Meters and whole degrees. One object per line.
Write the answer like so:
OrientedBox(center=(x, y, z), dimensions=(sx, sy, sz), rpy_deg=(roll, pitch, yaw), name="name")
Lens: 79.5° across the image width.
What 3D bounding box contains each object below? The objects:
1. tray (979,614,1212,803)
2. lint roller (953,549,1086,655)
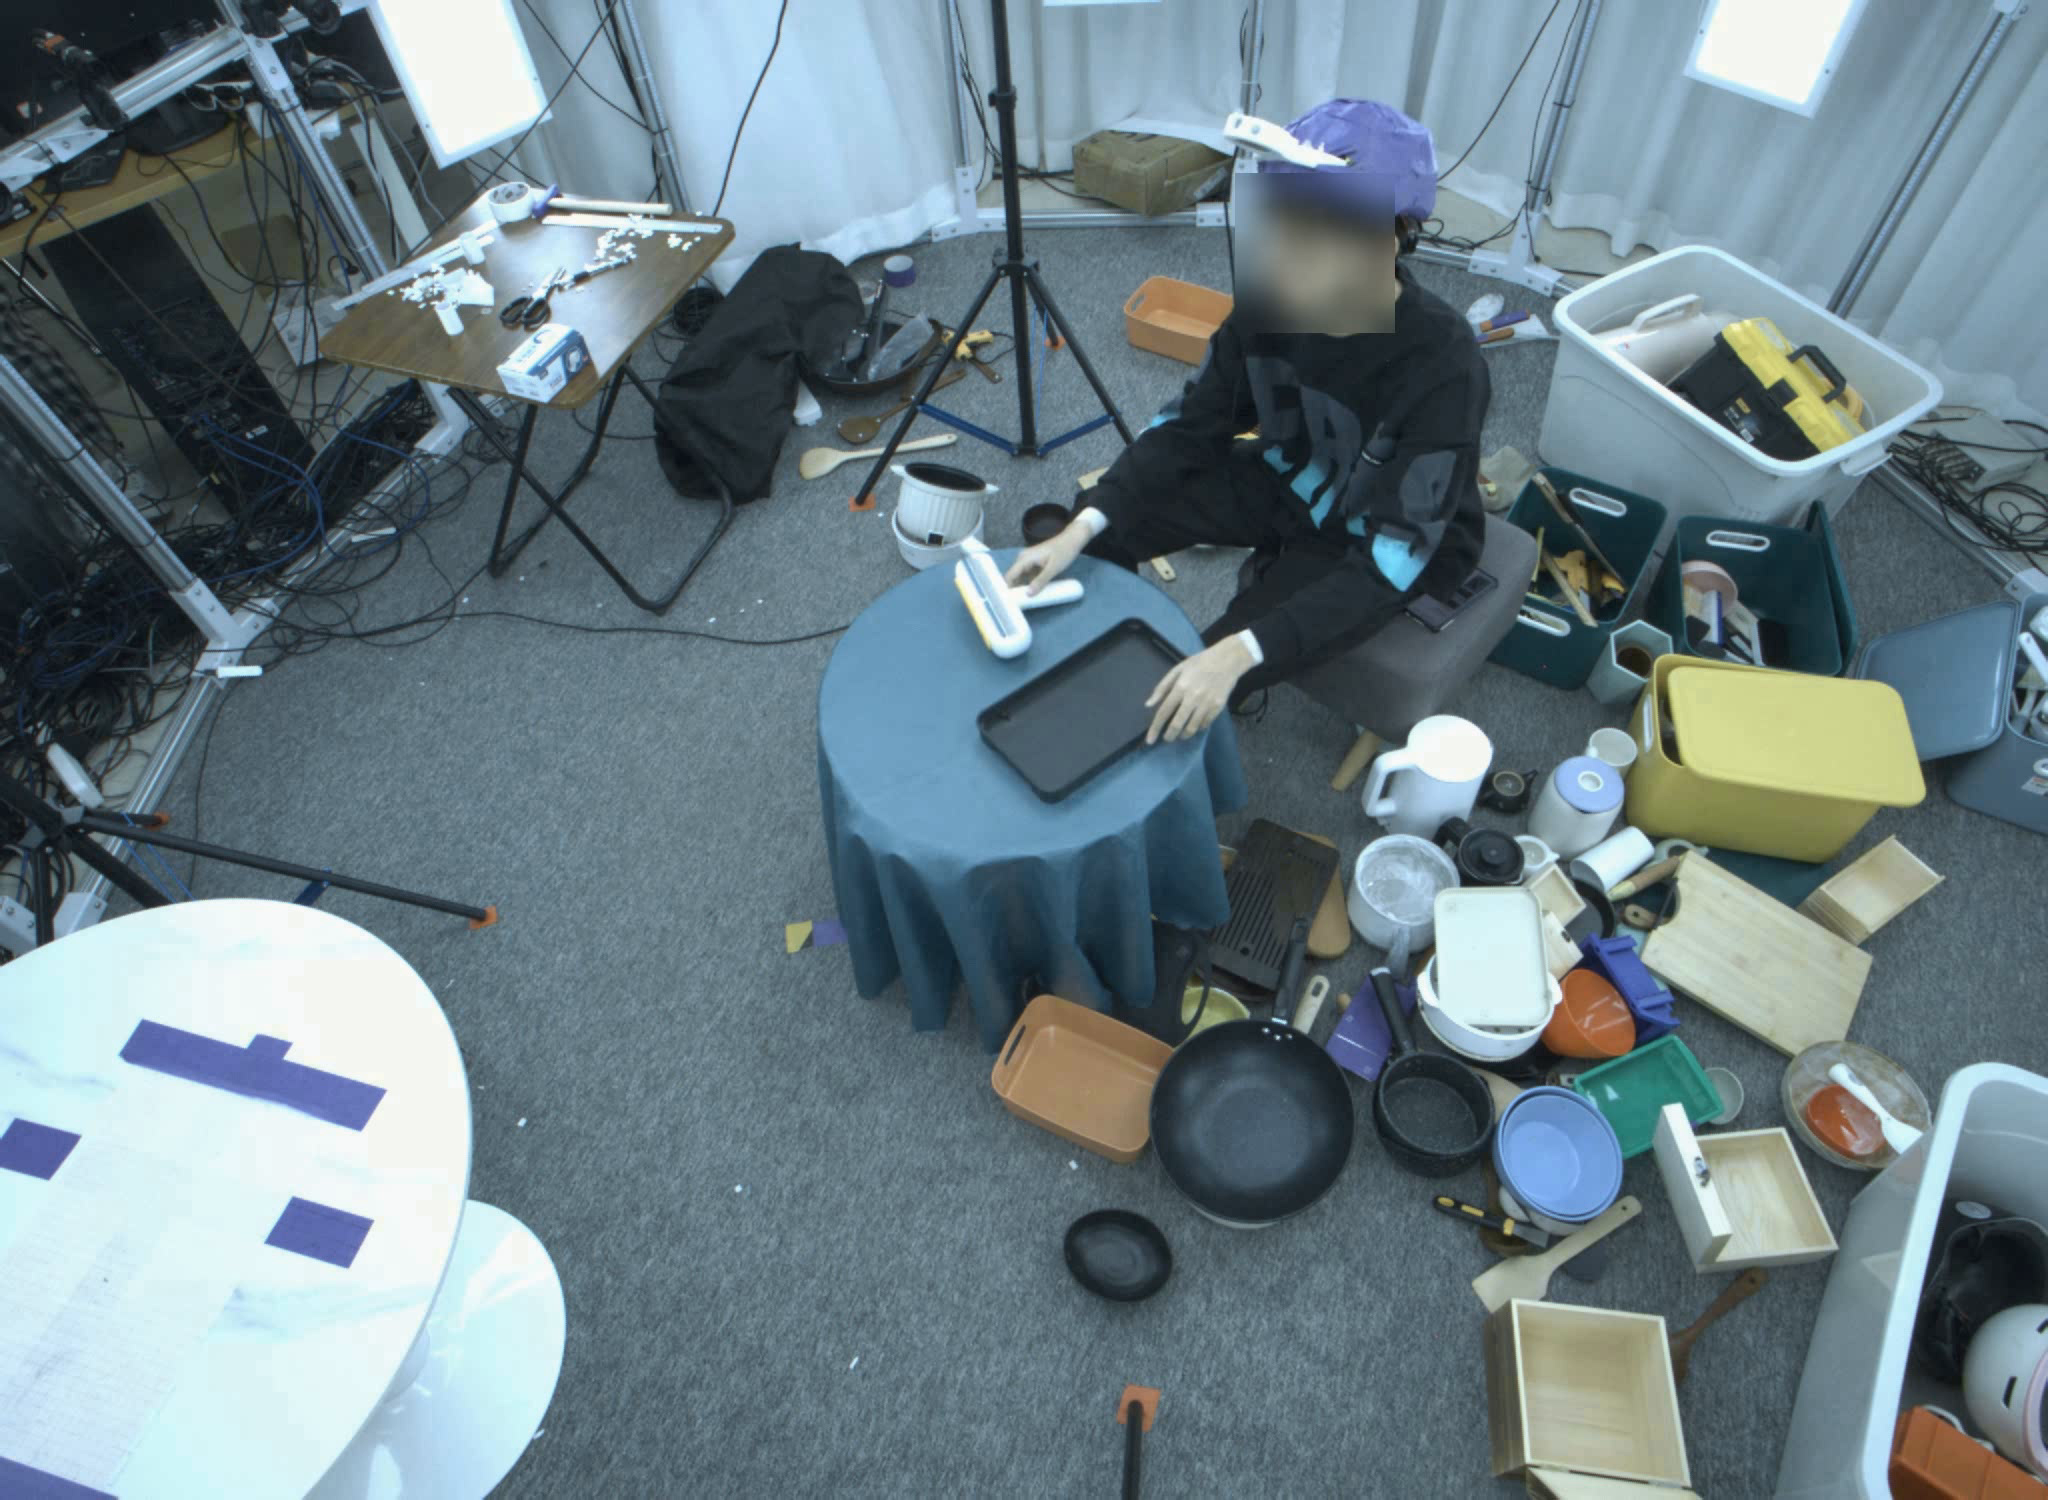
OrientedBox(center=(0.106, -0.066, 1.804), dimensions=(0.320, 0.037, 0.181), rpy_deg=(-36, 60, -21), name="tray")
OrientedBox(center=(0.004, -0.242, 1.911), dimensions=(0.194, 0.075, 0.189), rpy_deg=(-18, 56, -11), name="lint roller")
